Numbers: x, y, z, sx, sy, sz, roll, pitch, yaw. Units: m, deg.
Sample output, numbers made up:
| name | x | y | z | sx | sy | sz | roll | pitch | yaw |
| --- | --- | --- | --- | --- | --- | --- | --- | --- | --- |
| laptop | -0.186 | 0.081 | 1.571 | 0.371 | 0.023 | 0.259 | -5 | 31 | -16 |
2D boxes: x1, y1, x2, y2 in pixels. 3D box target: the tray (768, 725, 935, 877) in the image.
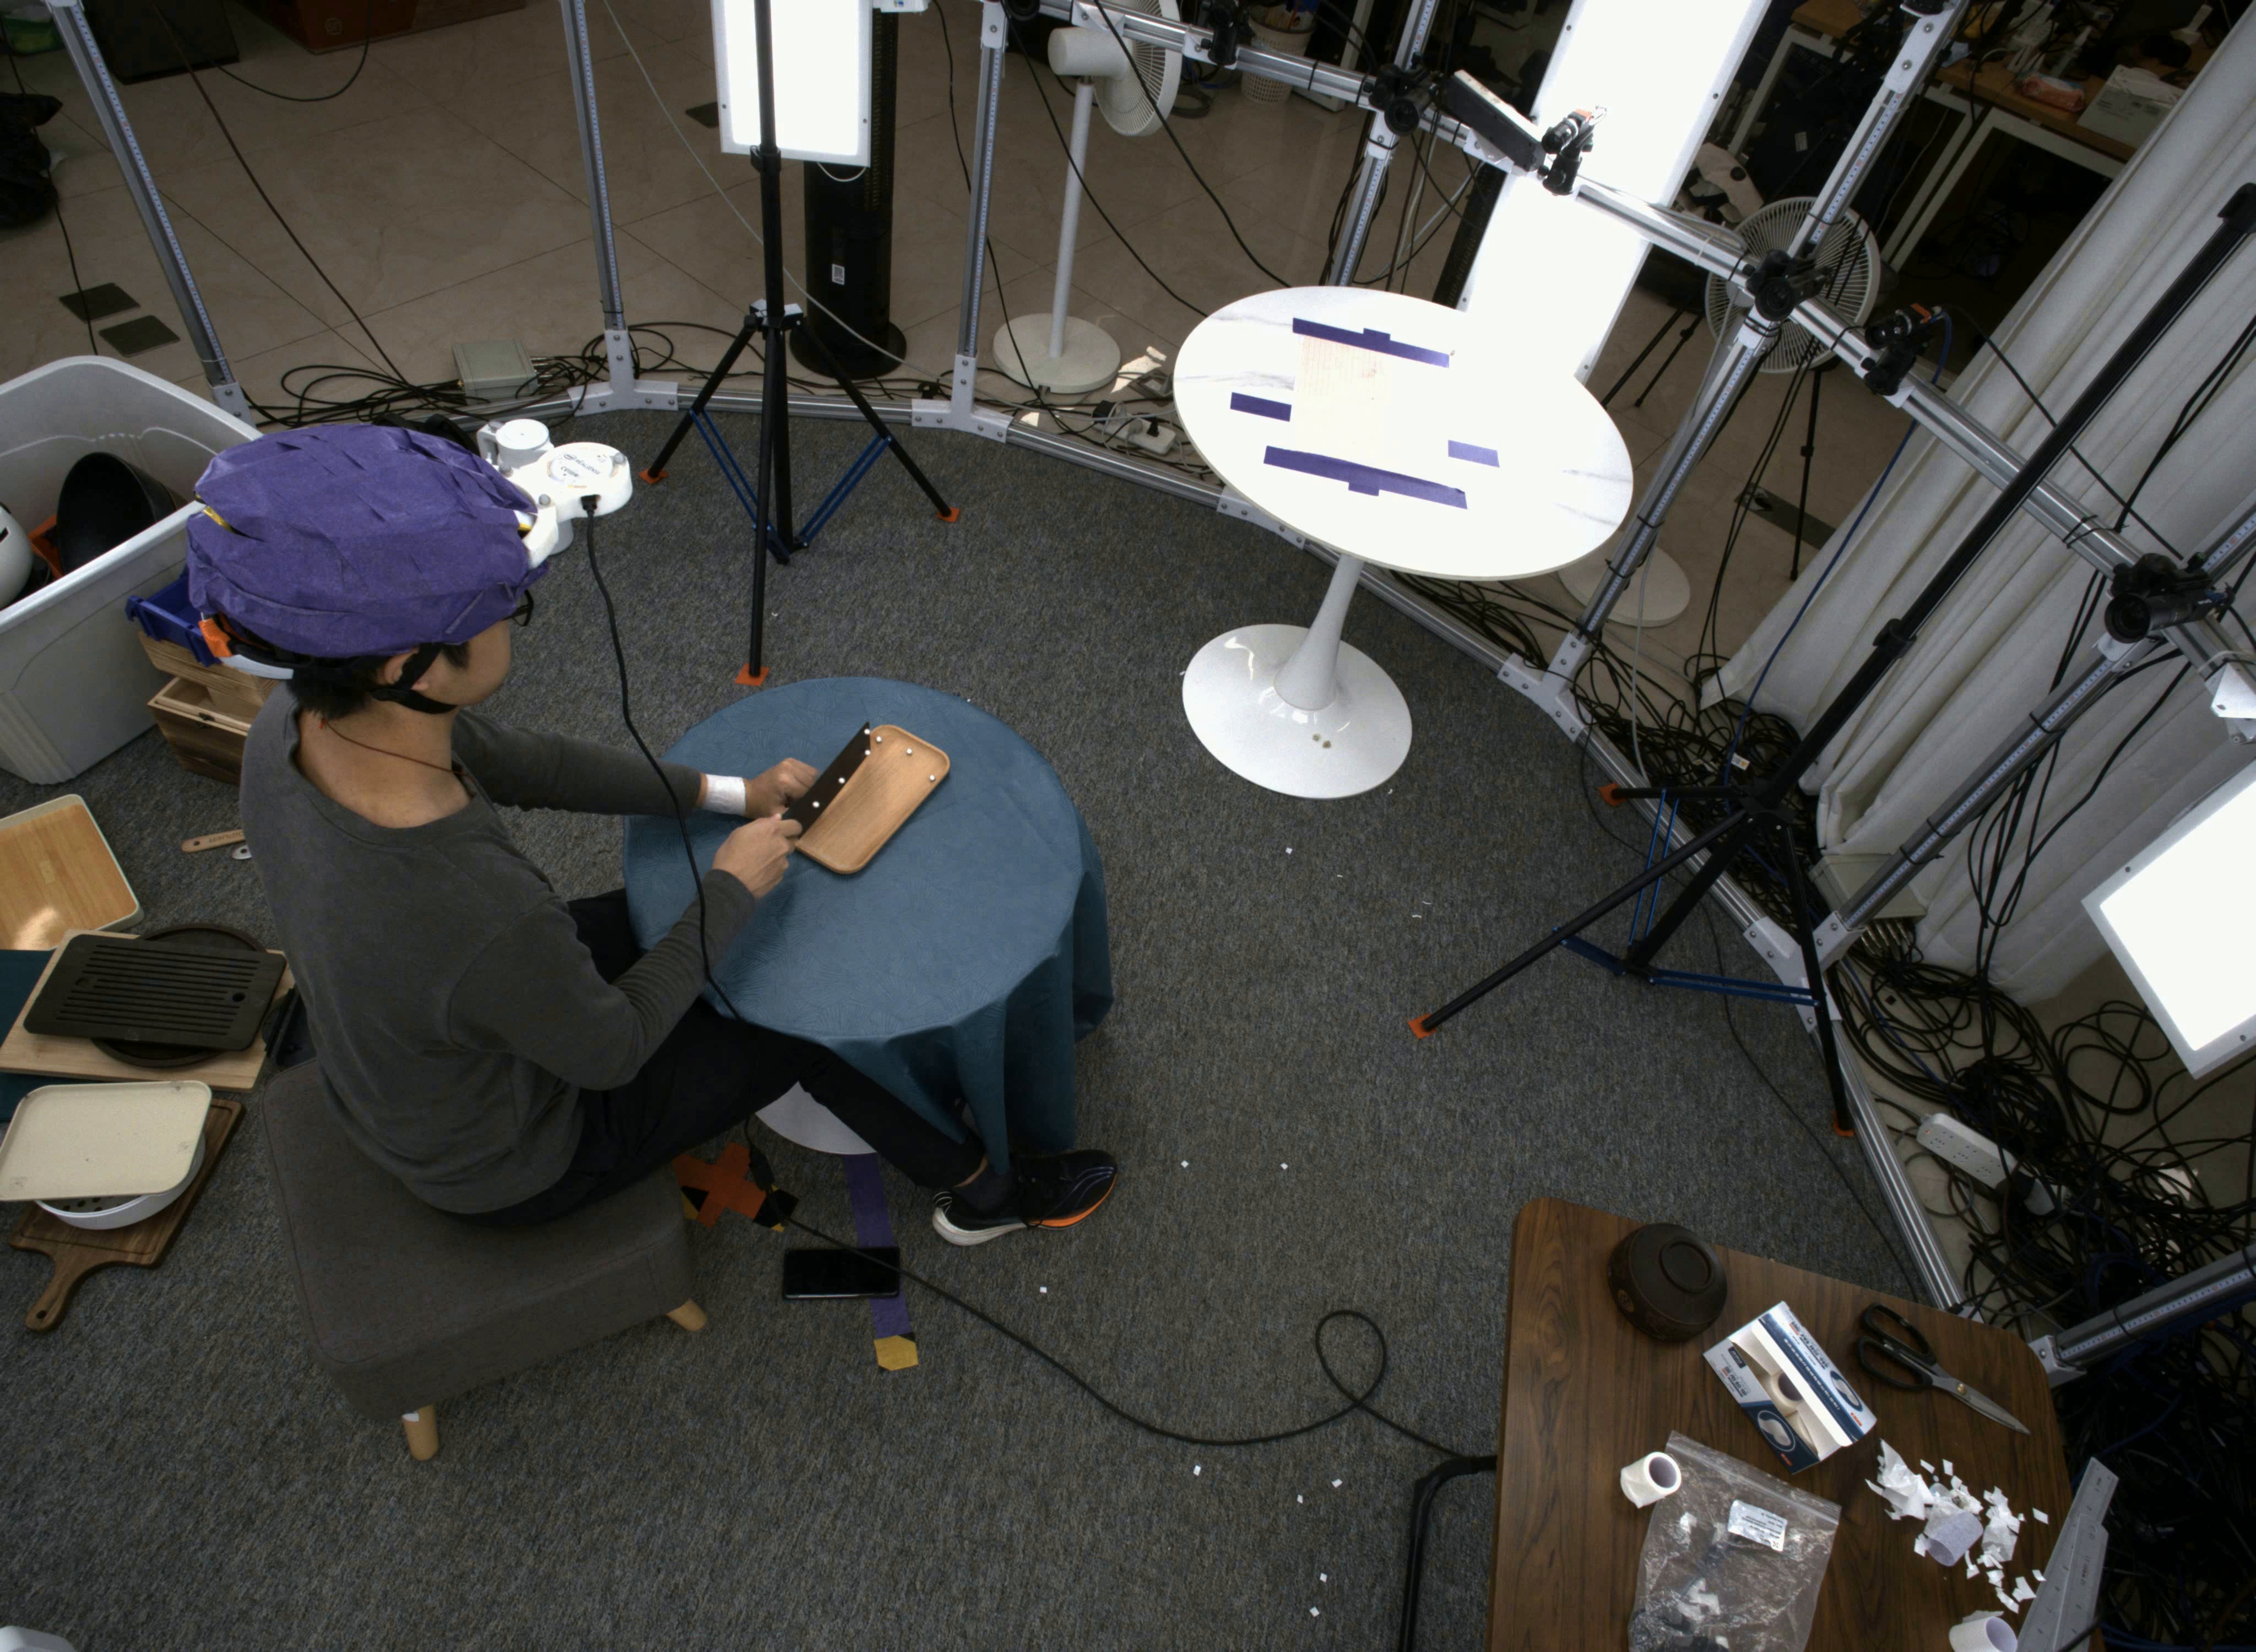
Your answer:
| name | x | y | z | sx | sy | sz | roll | pitch | yaw |
| --- | --- | --- | --- | --- | --- | --- | --- | --- | --- |
| tray | -0.374 | -0.037 | 1.766 | 0.128 | 0.023 | 0.250 | 28 | 54 | 10 |

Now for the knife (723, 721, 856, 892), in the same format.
| name | x | y | z | sx | sy | sz | roll | pitch | yaw |
| --- | --- | --- | --- | --- | --- | --- | --- | --- | --- |
| knife | -0.431 | -0.025 | 1.676 | 0.020 | 0.083 | 0.300 | 20 | 46 | 12 |
